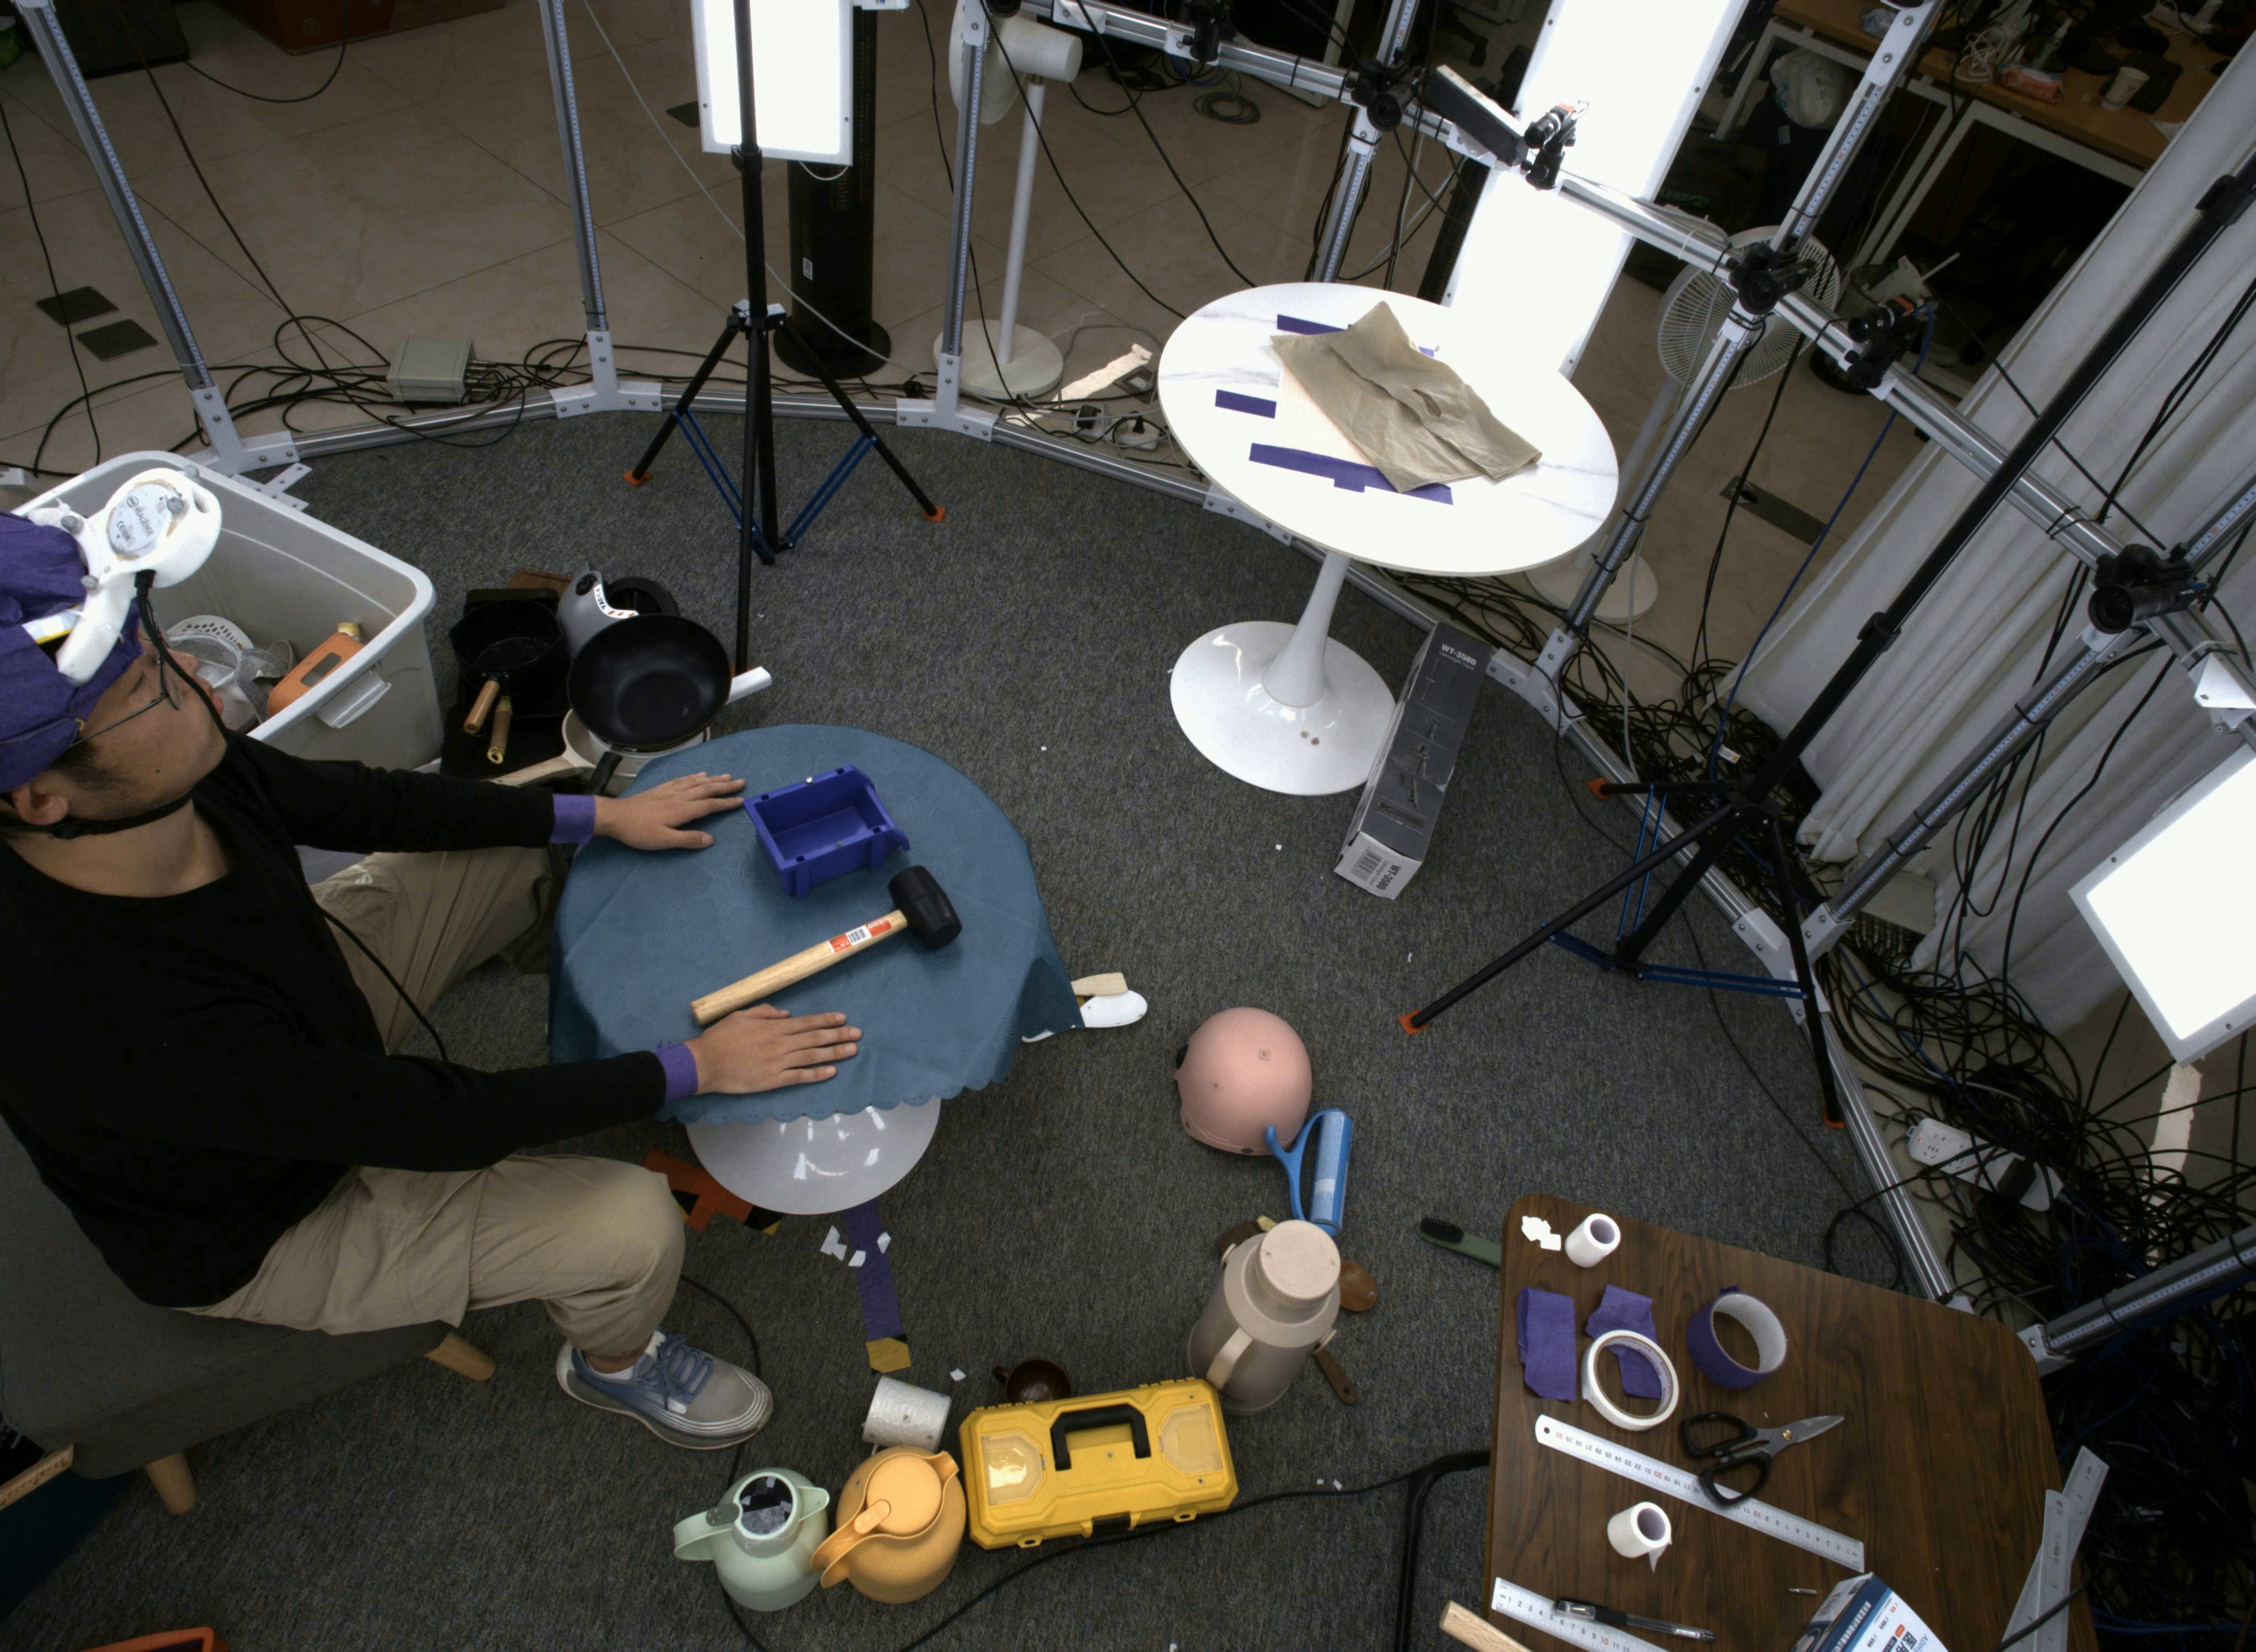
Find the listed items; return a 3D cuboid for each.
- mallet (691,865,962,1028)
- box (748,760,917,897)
[{"bbox_3d":[-0.369,0.151,1.584,0.340,0.065,0.099,-24,61,-28],"label":"mallet"},{"bbox_3d":[-0.381,-0.002,1.681,0.180,0.084,0.121,-23,62,-24],"label":"box"}]
